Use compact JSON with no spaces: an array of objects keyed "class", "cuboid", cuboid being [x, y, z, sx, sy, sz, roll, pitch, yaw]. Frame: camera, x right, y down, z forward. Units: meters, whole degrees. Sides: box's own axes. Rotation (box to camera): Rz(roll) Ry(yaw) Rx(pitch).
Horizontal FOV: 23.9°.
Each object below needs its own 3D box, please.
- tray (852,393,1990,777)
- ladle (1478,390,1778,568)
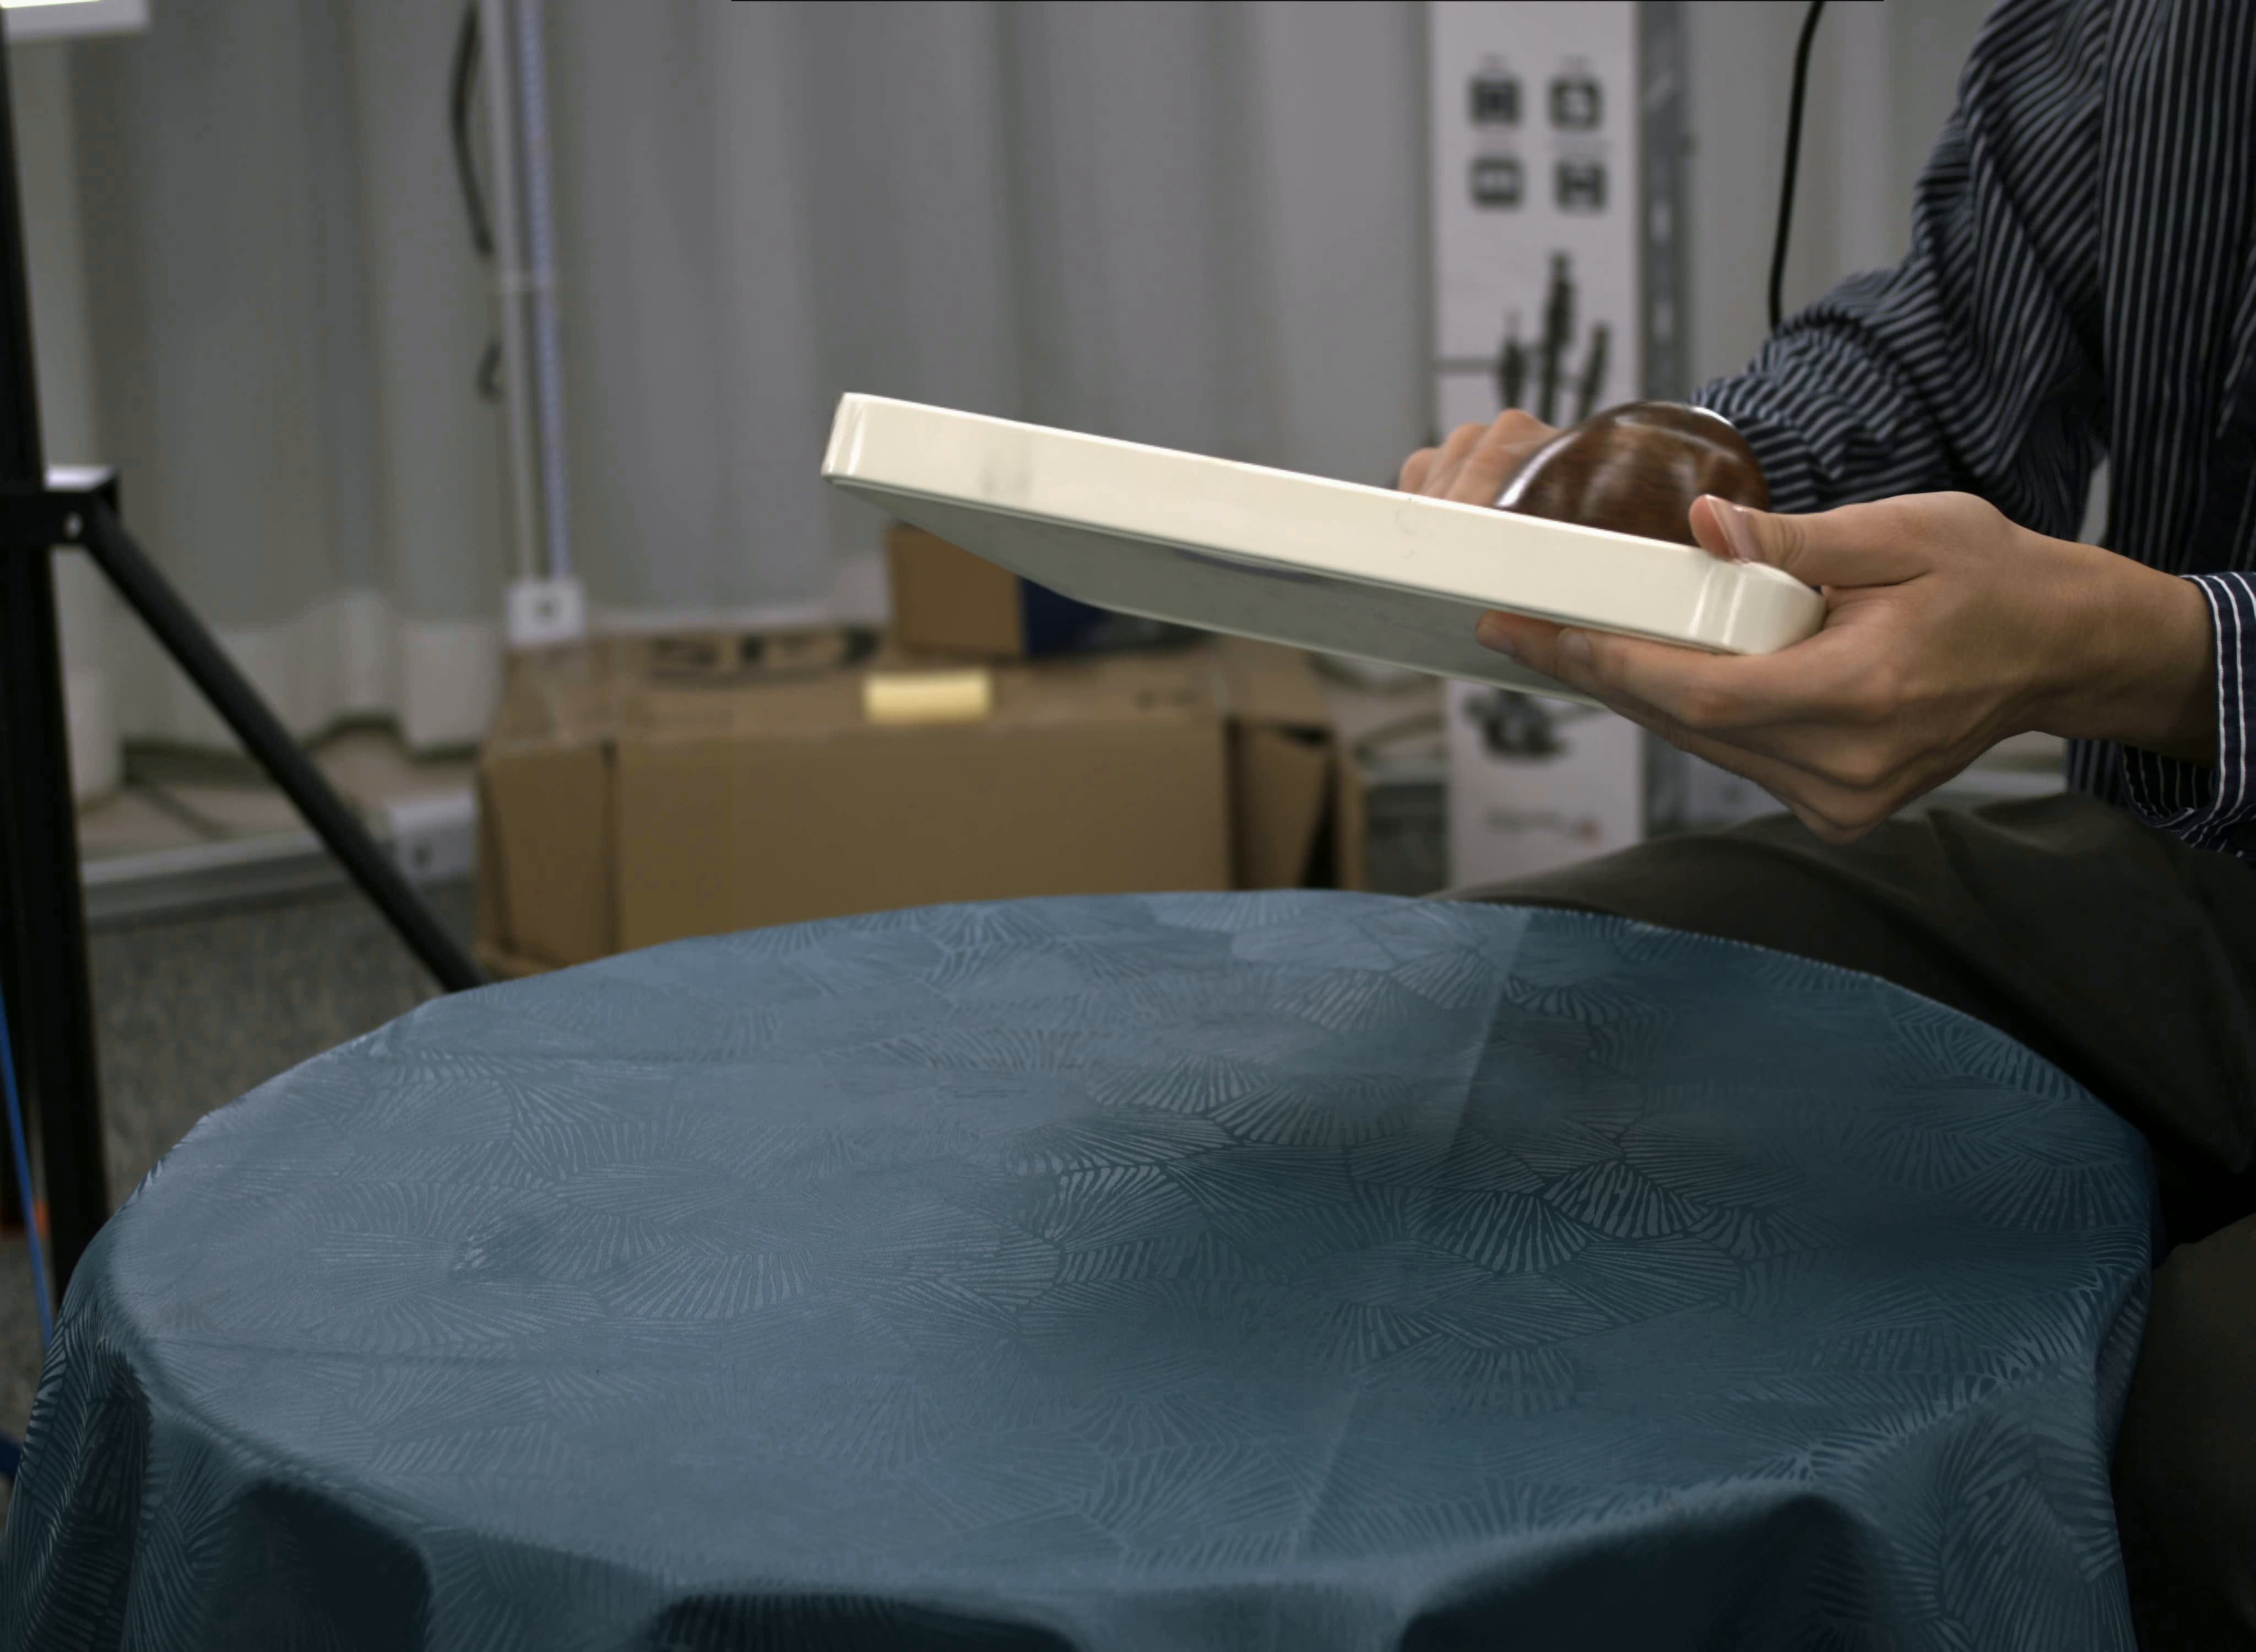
[{"class":"tray","cuboid":[0.085,-0.068,1.543,0.306,0.027,0.187,13,-4,29]},{"class":"ladle","cuboid":[0.140,-0.081,1.646,0.076,0.082,0.274,34,-6,-1]}]
